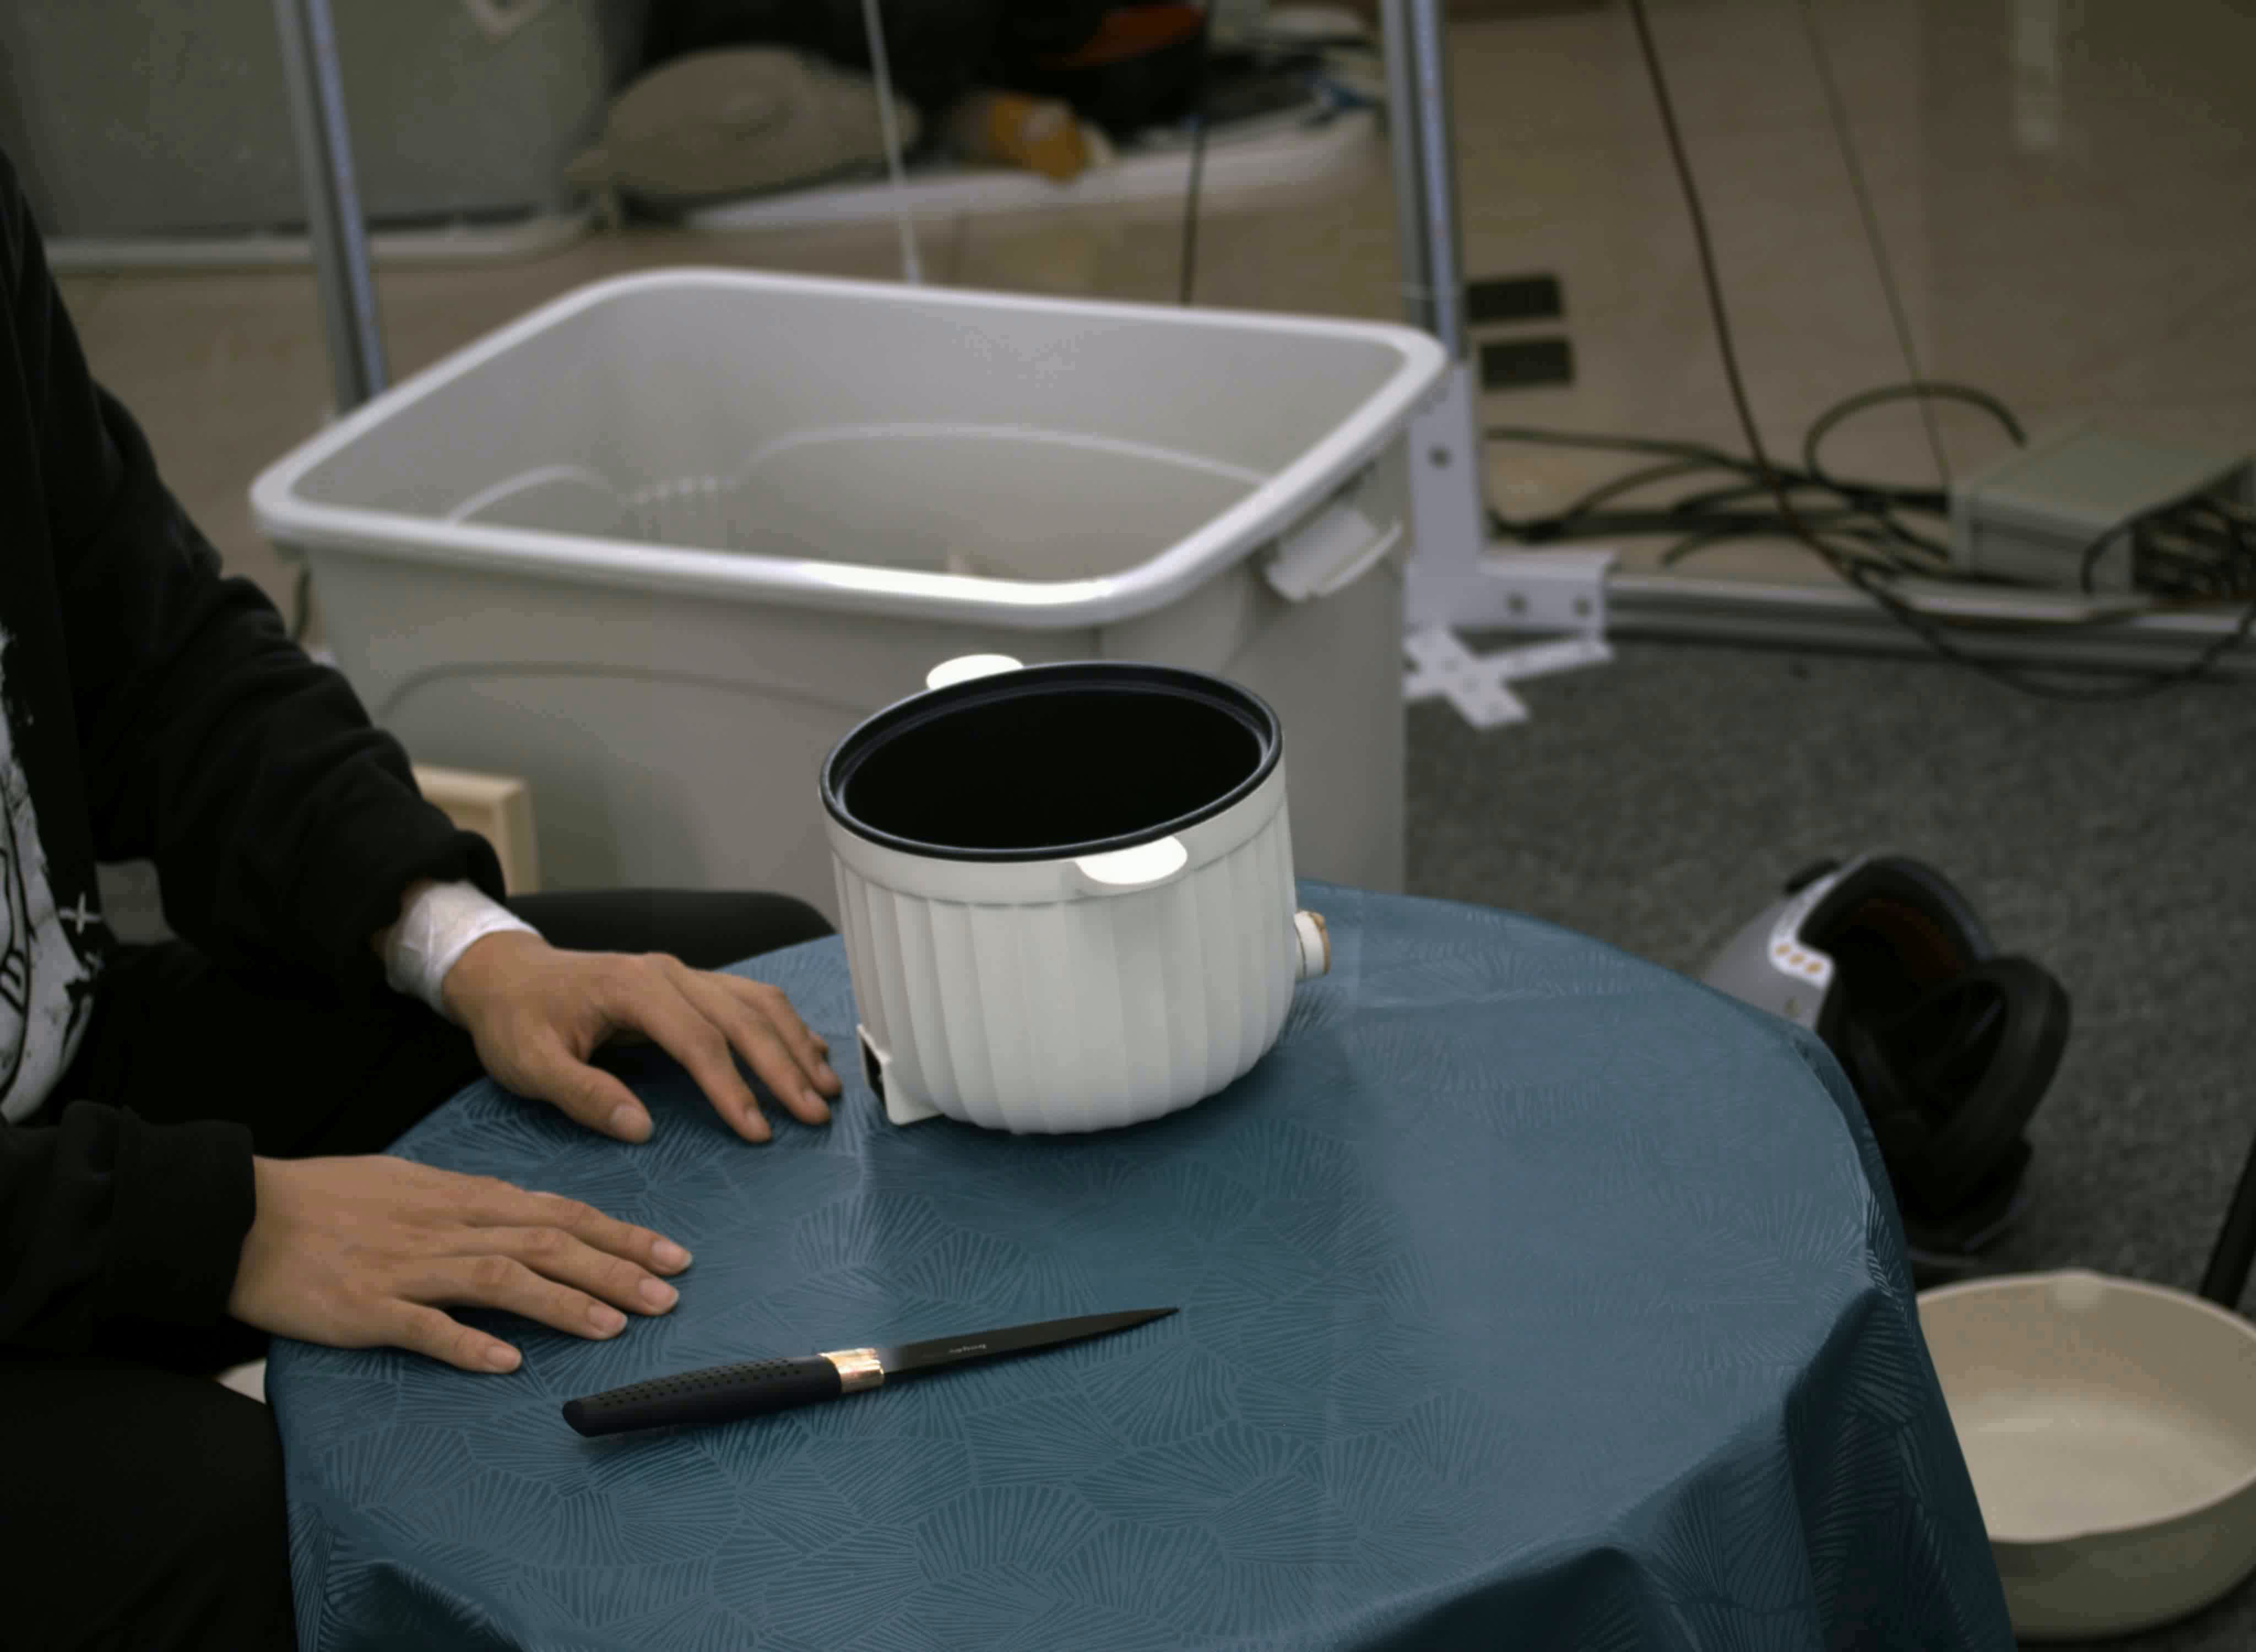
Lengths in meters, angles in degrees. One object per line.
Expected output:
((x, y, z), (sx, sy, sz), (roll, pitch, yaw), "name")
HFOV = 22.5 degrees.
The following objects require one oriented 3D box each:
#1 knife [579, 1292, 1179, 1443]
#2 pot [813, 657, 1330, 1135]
((-0.088, 0.193, 2.045), (0.225, 0.017, 0.026), (-11, 11, -12), "knife")
((-0.019, 0.030, 2.221), (0.190, 0.145, 0.237), (-17, 28, -14), "pot")
